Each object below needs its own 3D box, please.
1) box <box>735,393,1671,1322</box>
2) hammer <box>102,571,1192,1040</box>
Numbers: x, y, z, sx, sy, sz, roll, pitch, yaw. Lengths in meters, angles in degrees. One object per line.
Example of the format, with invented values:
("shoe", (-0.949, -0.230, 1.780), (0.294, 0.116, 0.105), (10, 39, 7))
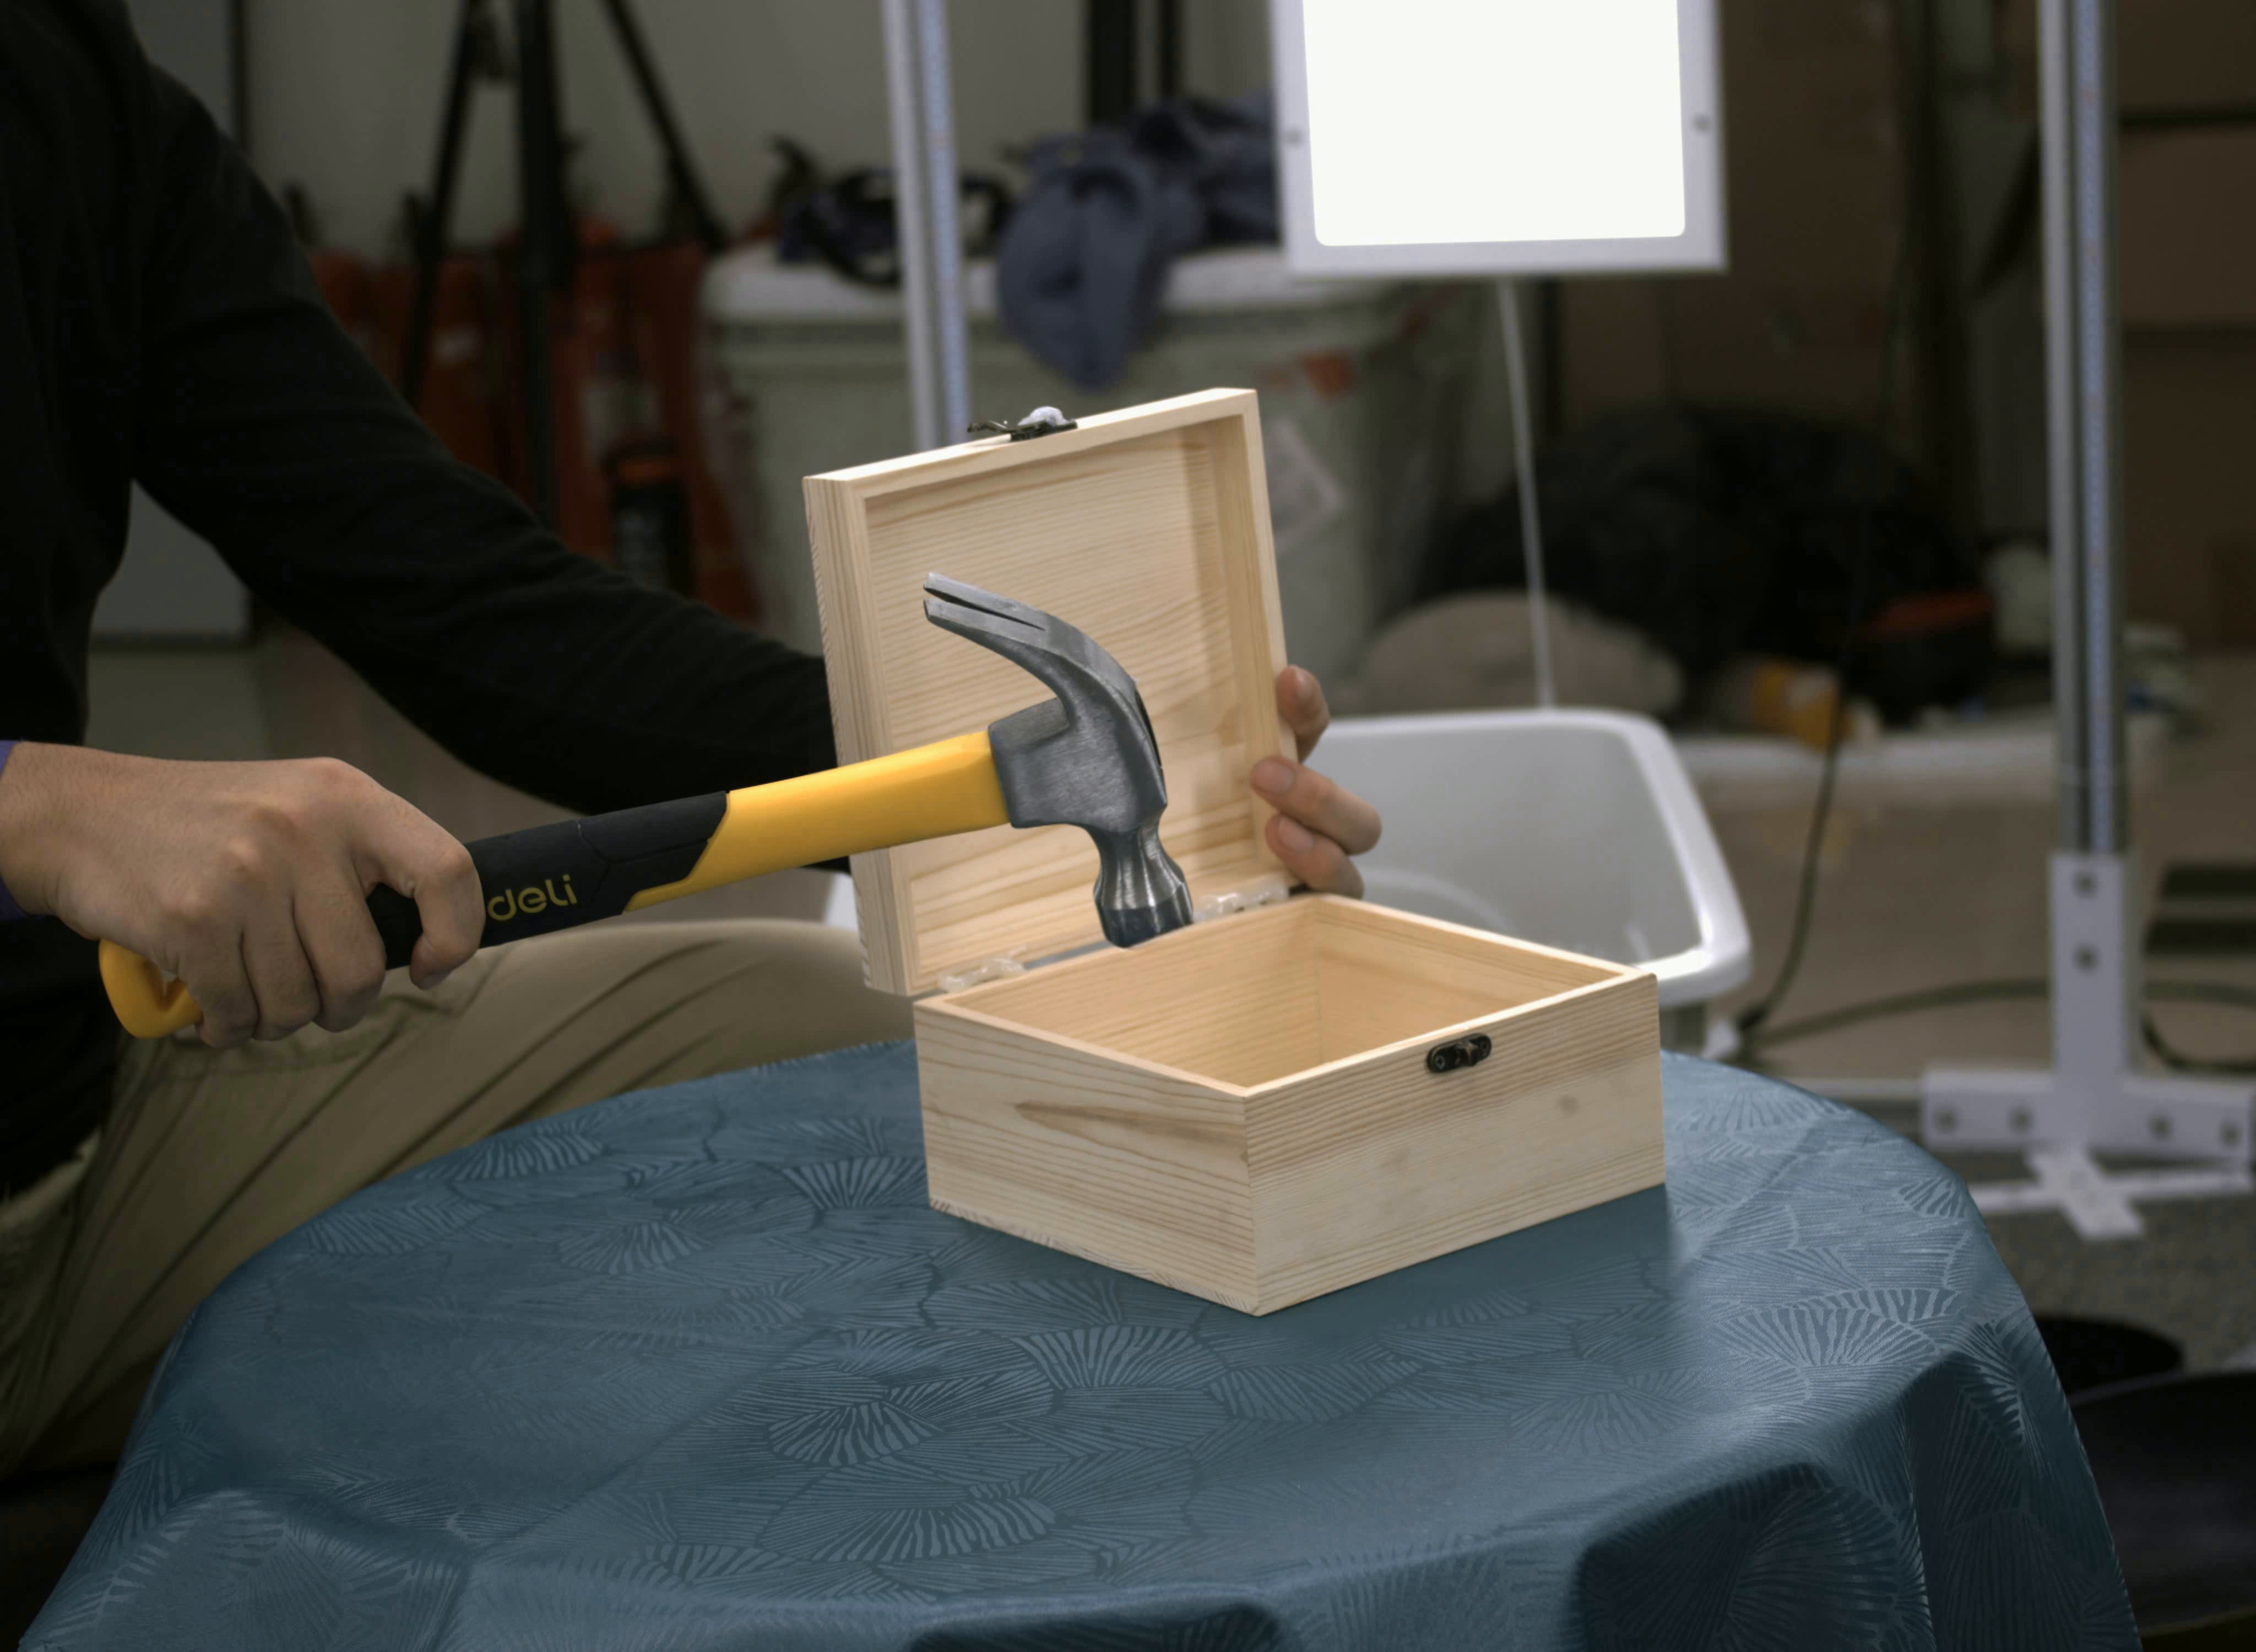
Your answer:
("box", (0.027, 0.001, 1.874), (0.177, 0.254, 0.270), (-17, 18, -35))
("hammer", (-0.157, 0.011, 1.730), (0.339, 0.131, 0.032), (-13, 26, 6))
